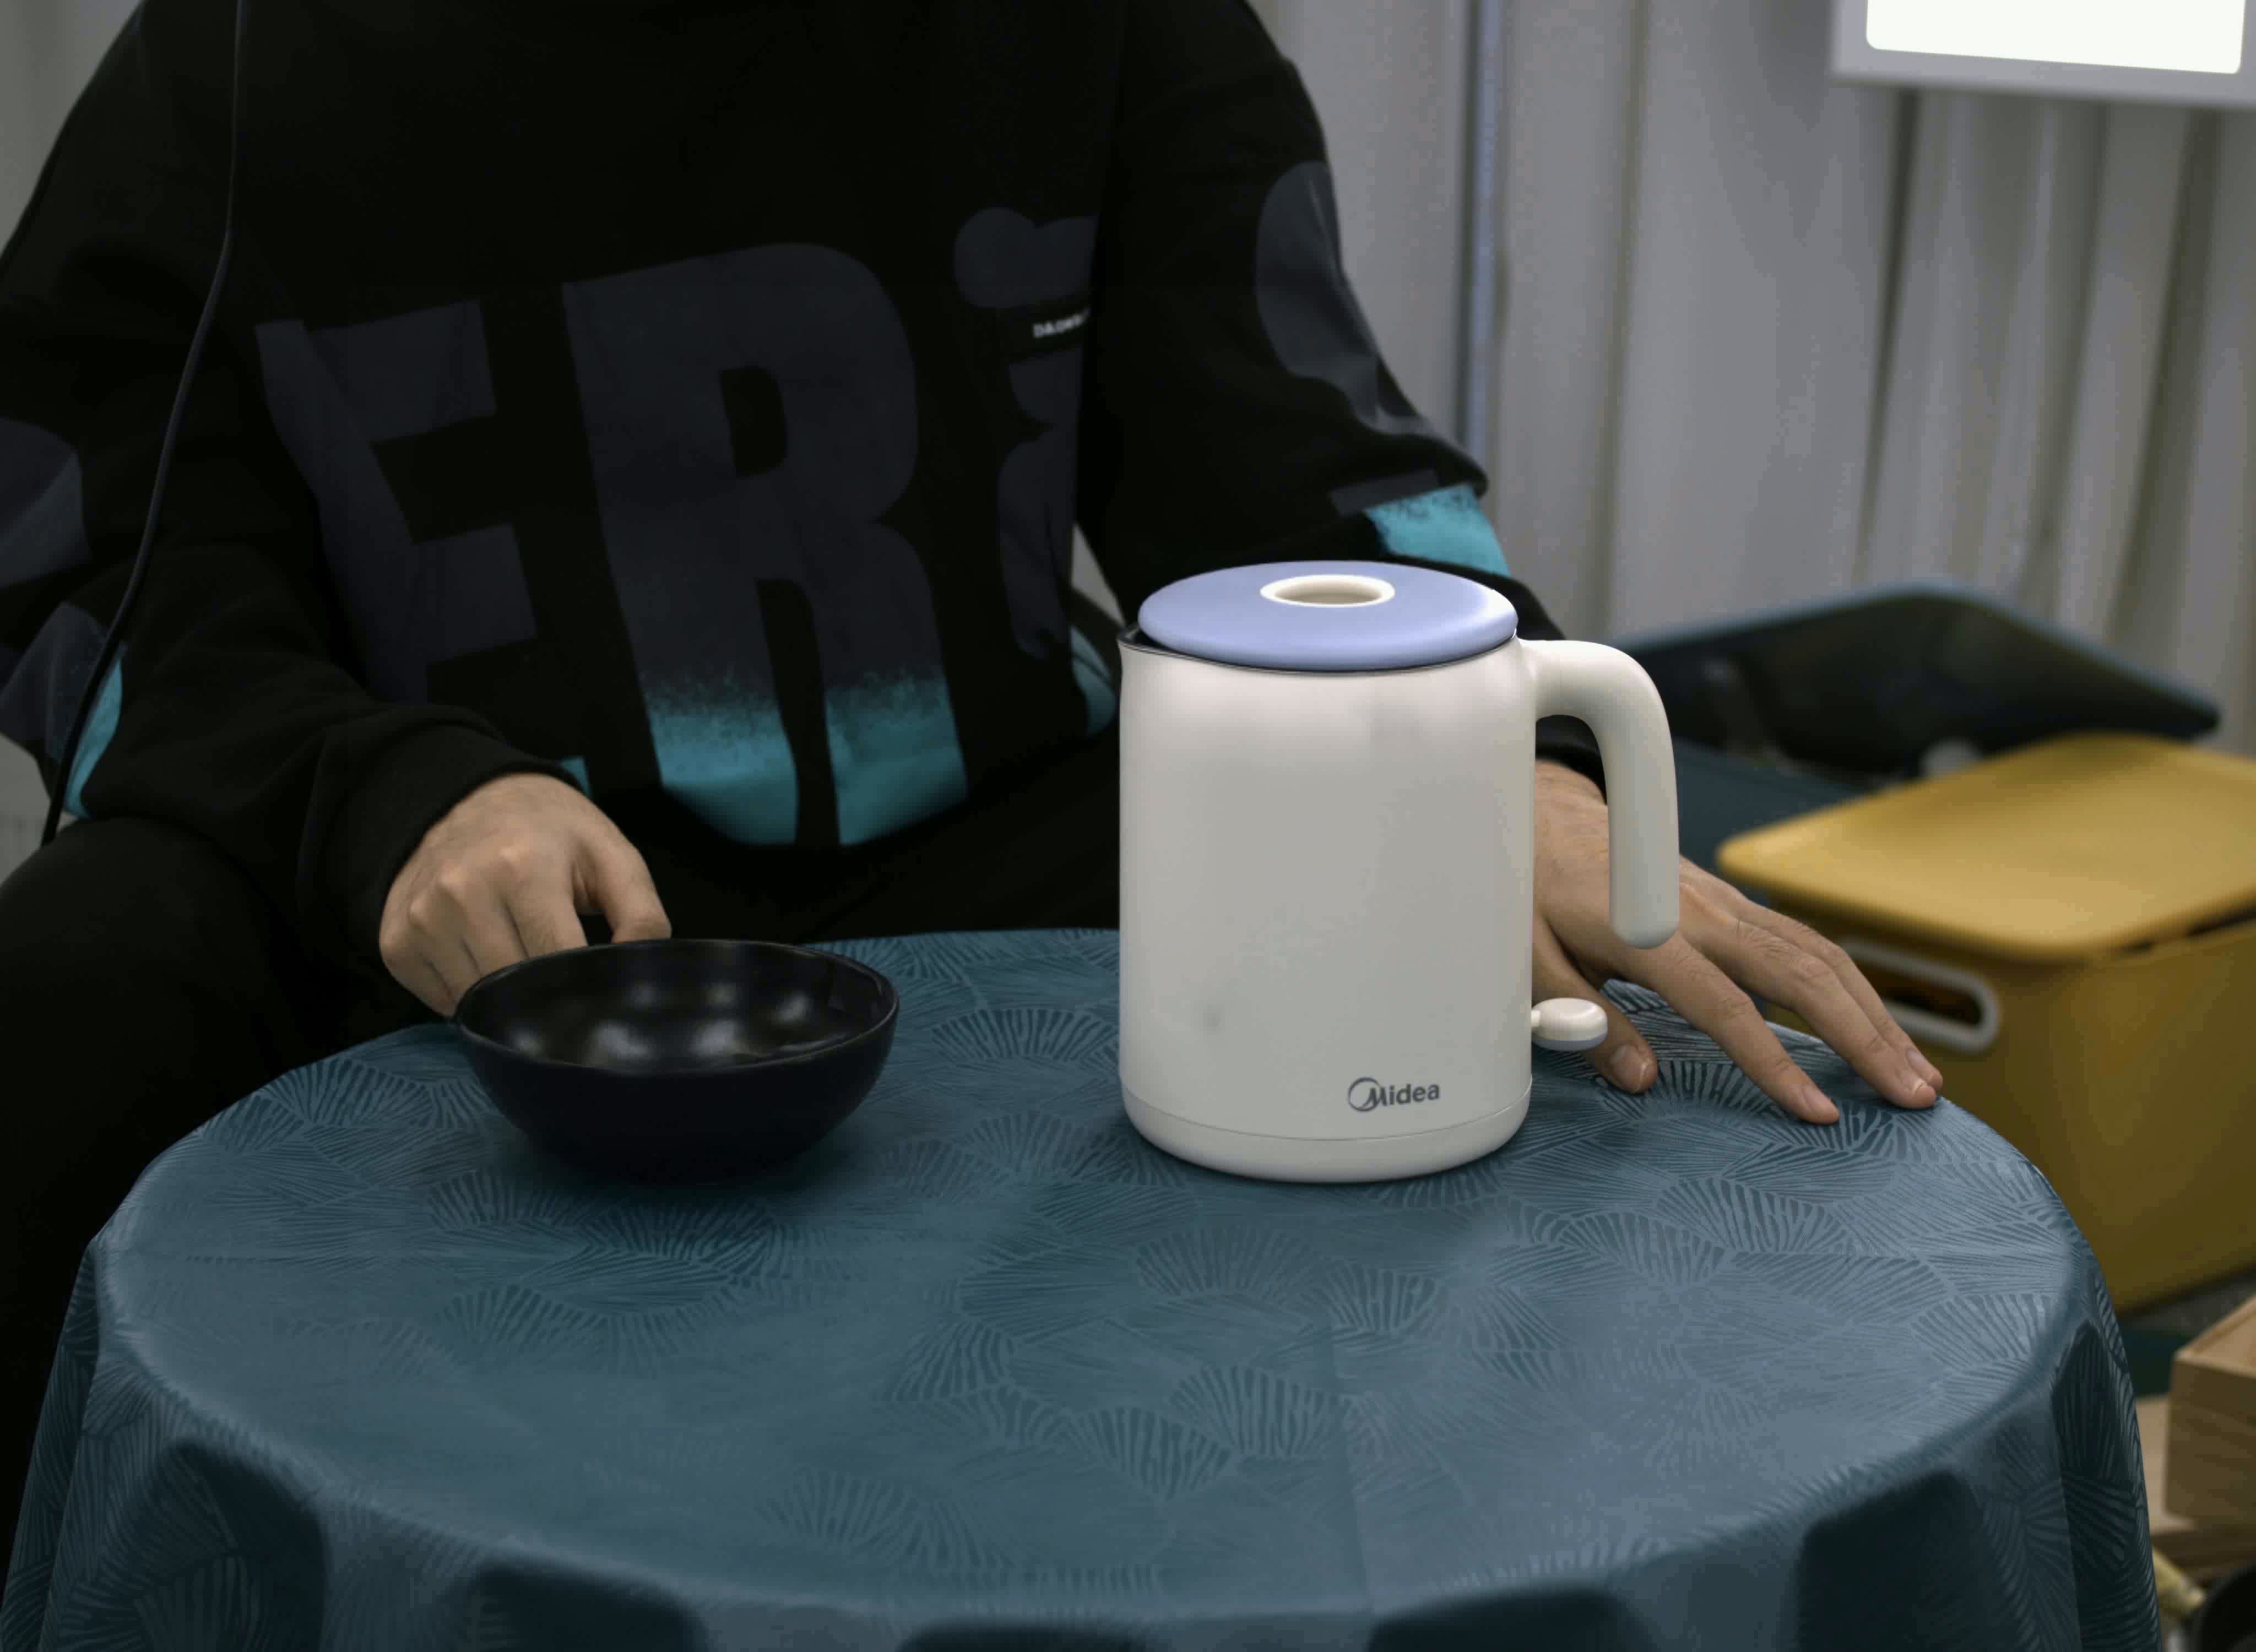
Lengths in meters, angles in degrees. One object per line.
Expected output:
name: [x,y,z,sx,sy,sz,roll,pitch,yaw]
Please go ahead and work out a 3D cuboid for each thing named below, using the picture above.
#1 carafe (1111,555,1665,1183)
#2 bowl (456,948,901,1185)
carafe: [0.085,0.011,1.667,0.191,0.184,0.131,-3,17,-19]
bowl: [-0.140,0.079,1.647,0.139,0.050,0.139,1,13,0]
